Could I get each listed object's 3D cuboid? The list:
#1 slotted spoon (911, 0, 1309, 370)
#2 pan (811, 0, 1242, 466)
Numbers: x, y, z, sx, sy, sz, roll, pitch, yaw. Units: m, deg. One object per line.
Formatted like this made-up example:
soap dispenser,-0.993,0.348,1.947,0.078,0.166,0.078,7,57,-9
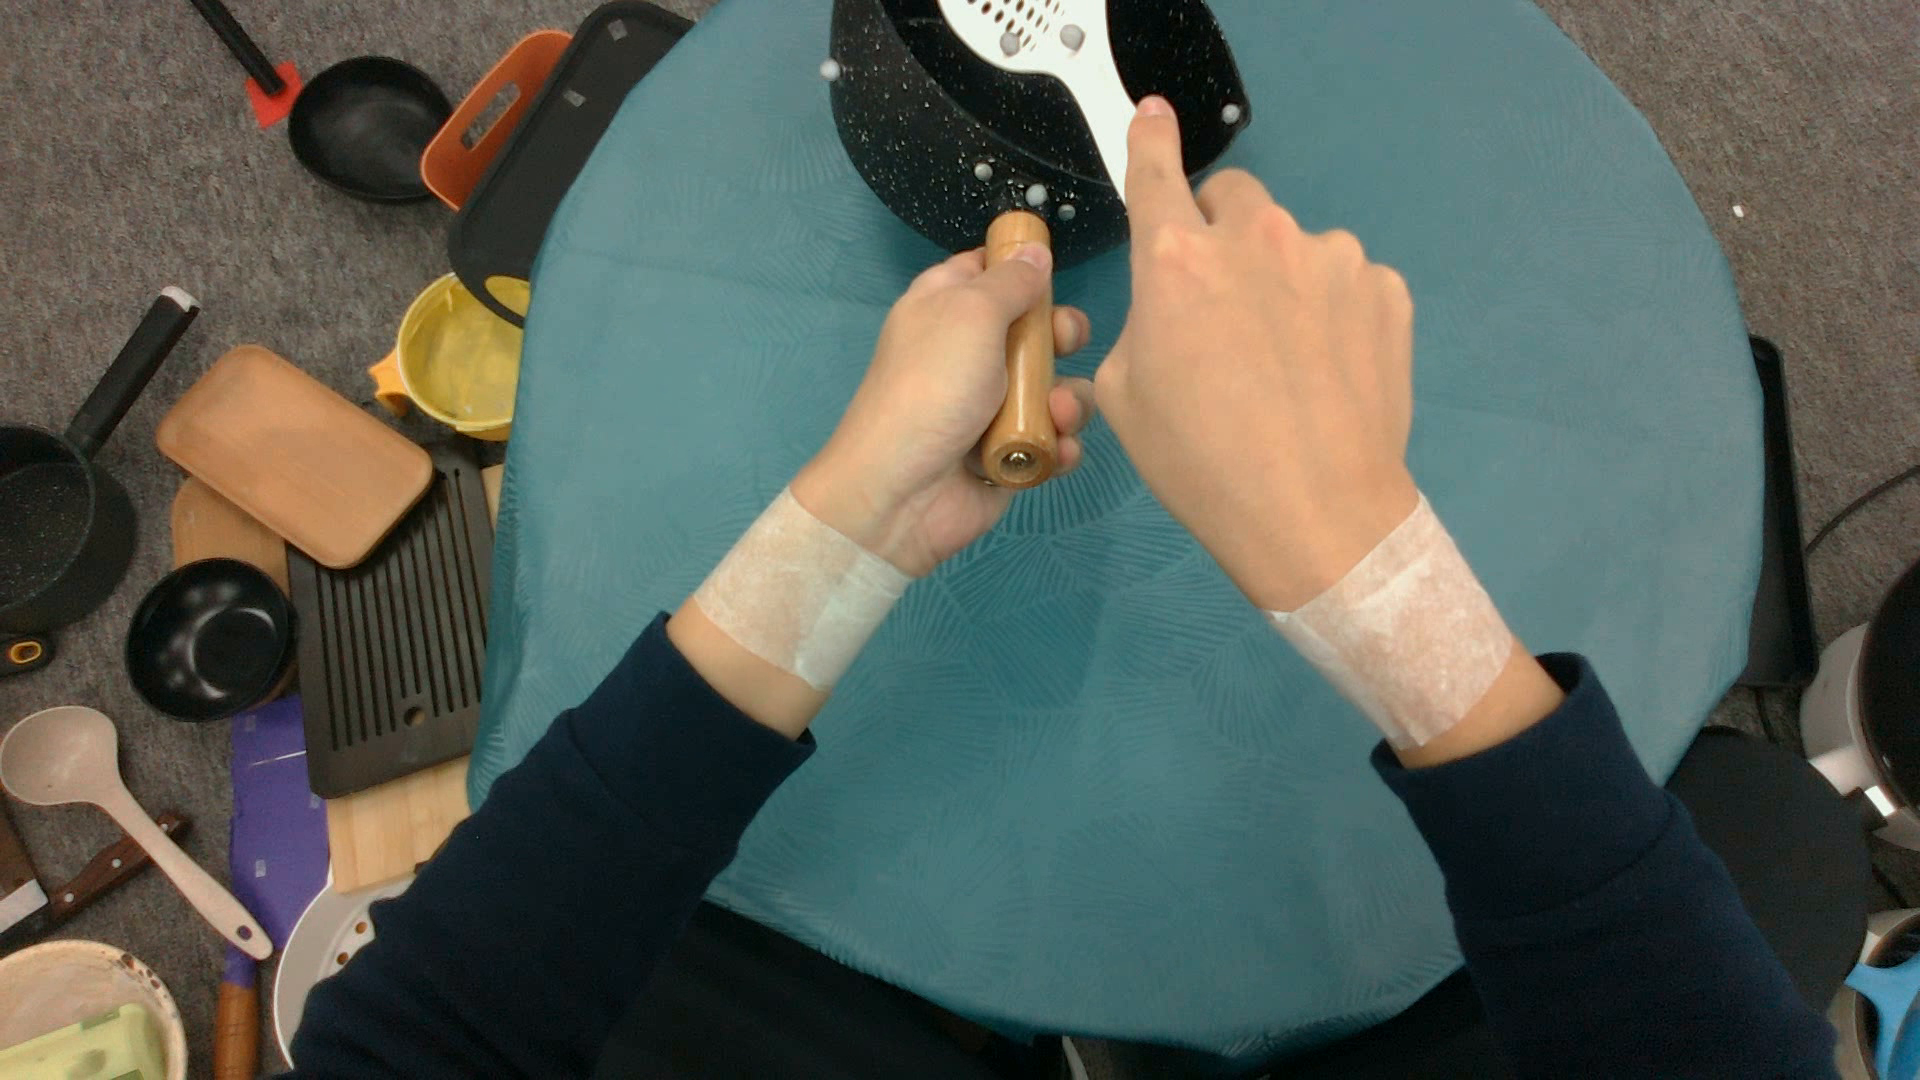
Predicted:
slotted spoon,0.046,-0.187,0.500,0.050,0.136,0.349,11,47,-27
pan,0.017,-0.151,0.579,0.207,0.107,0.344,18,55,-19
